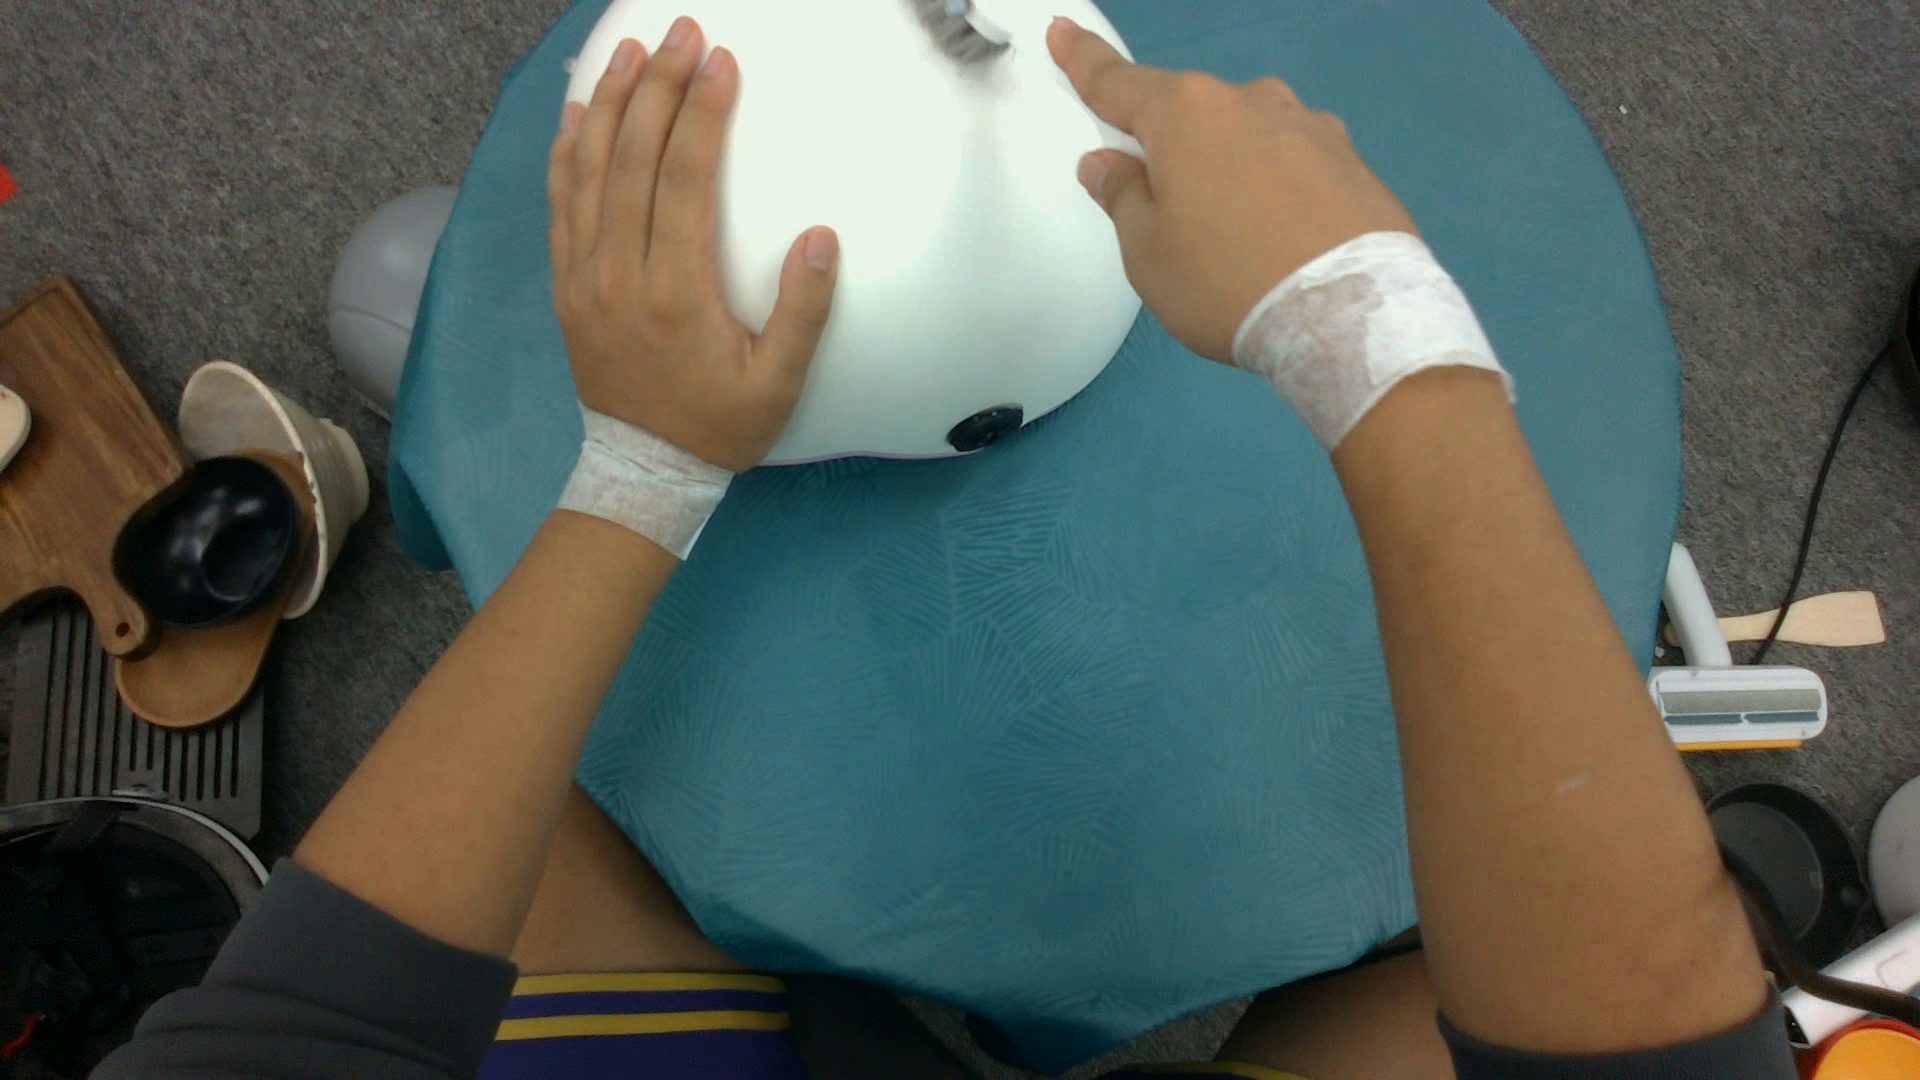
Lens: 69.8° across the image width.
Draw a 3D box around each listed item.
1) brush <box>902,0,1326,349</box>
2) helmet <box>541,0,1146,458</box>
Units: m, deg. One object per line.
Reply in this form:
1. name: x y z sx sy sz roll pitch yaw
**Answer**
1. brush: 0.039 -0.149 0.473 0.034 0.050 0.244 -23 70 -29
2. helmet: -0.044 -0.163 0.580 0.269 0.166 0.237 -12 77 -9
